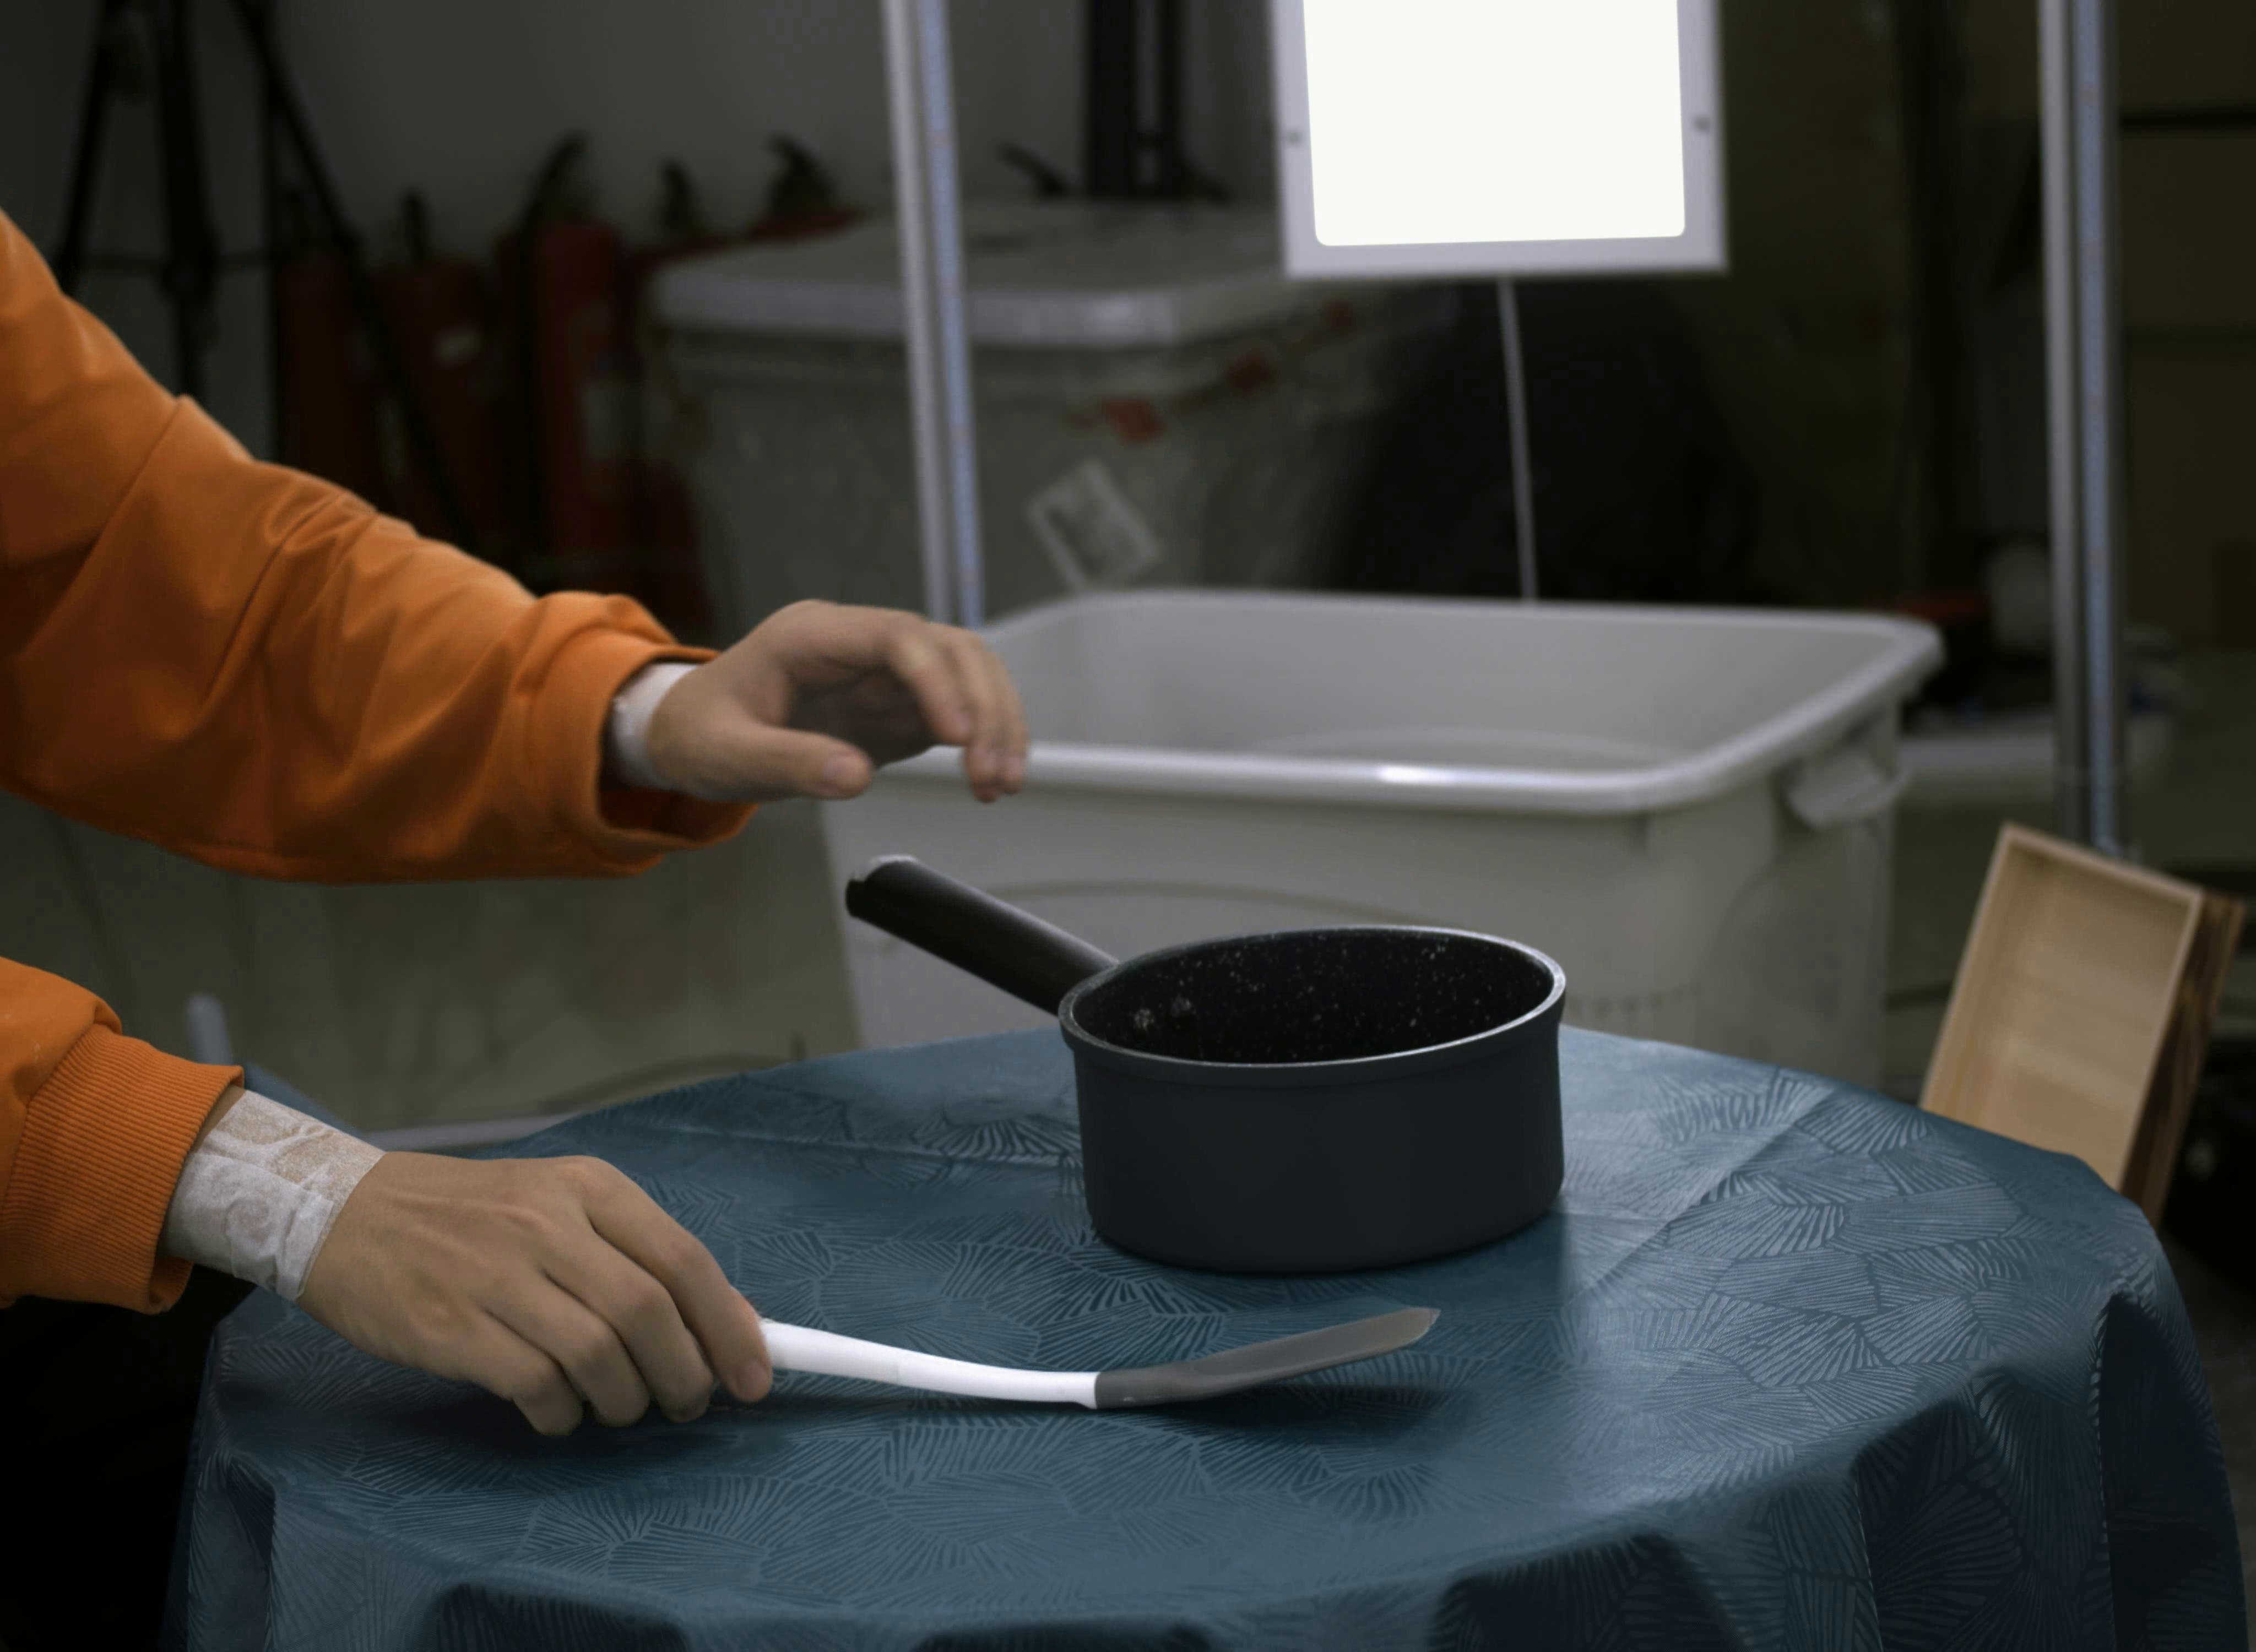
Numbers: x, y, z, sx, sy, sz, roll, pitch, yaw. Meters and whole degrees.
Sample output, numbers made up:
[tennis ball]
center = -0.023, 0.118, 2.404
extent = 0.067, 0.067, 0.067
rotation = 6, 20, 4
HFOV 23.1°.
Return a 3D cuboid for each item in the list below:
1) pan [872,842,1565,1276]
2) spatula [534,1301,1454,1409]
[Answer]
[pan]
center = 0.016, 0.076, 1.919
extent = 0.168, 0.087, 0.335
rotation = -13, 18, -34
[spatula]
center = -0.042, 0.163, 1.696
extent = 0.290, 0.032, 0.058
rotation = -2, 4, 16
